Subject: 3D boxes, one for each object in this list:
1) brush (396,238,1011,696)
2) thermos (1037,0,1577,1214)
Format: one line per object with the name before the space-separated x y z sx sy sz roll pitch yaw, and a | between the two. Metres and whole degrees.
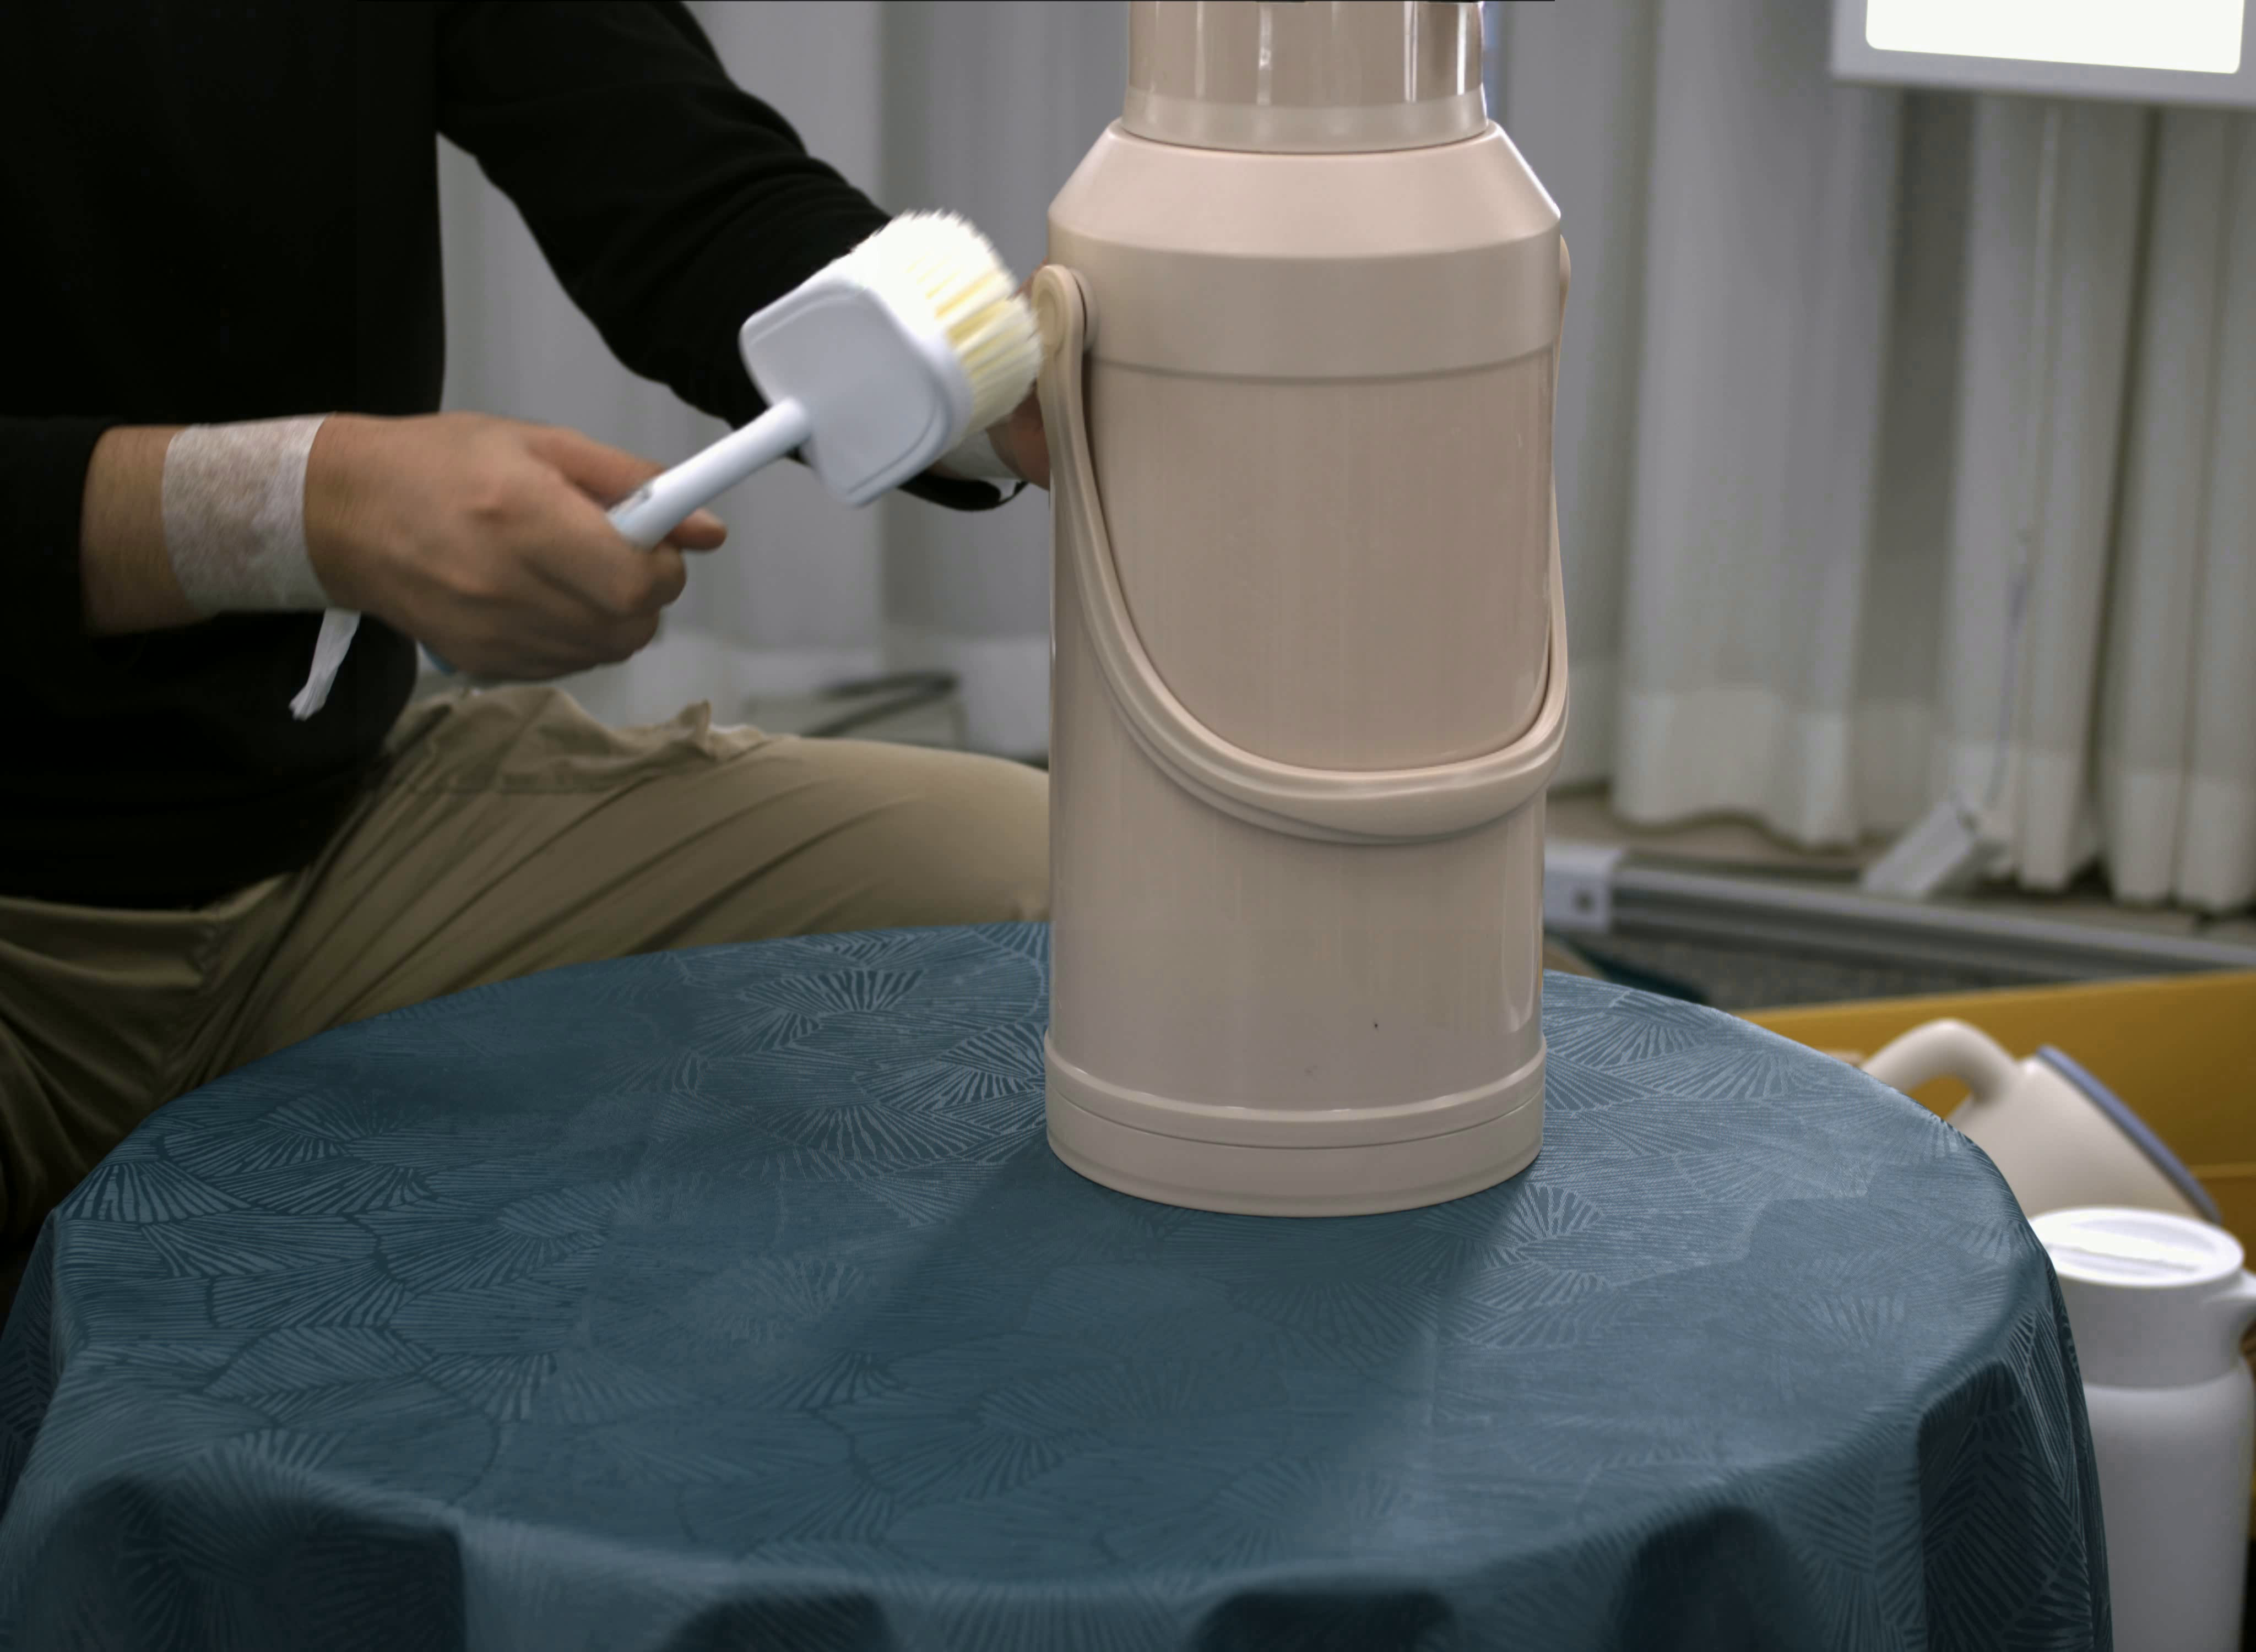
brush | -0.130 -0.114 1.649 0.085 0.083 0.324 9 -20 -32
thermos | 0.050 -0.097 1.632 0.176 0.410 0.204 -10 19 -27
